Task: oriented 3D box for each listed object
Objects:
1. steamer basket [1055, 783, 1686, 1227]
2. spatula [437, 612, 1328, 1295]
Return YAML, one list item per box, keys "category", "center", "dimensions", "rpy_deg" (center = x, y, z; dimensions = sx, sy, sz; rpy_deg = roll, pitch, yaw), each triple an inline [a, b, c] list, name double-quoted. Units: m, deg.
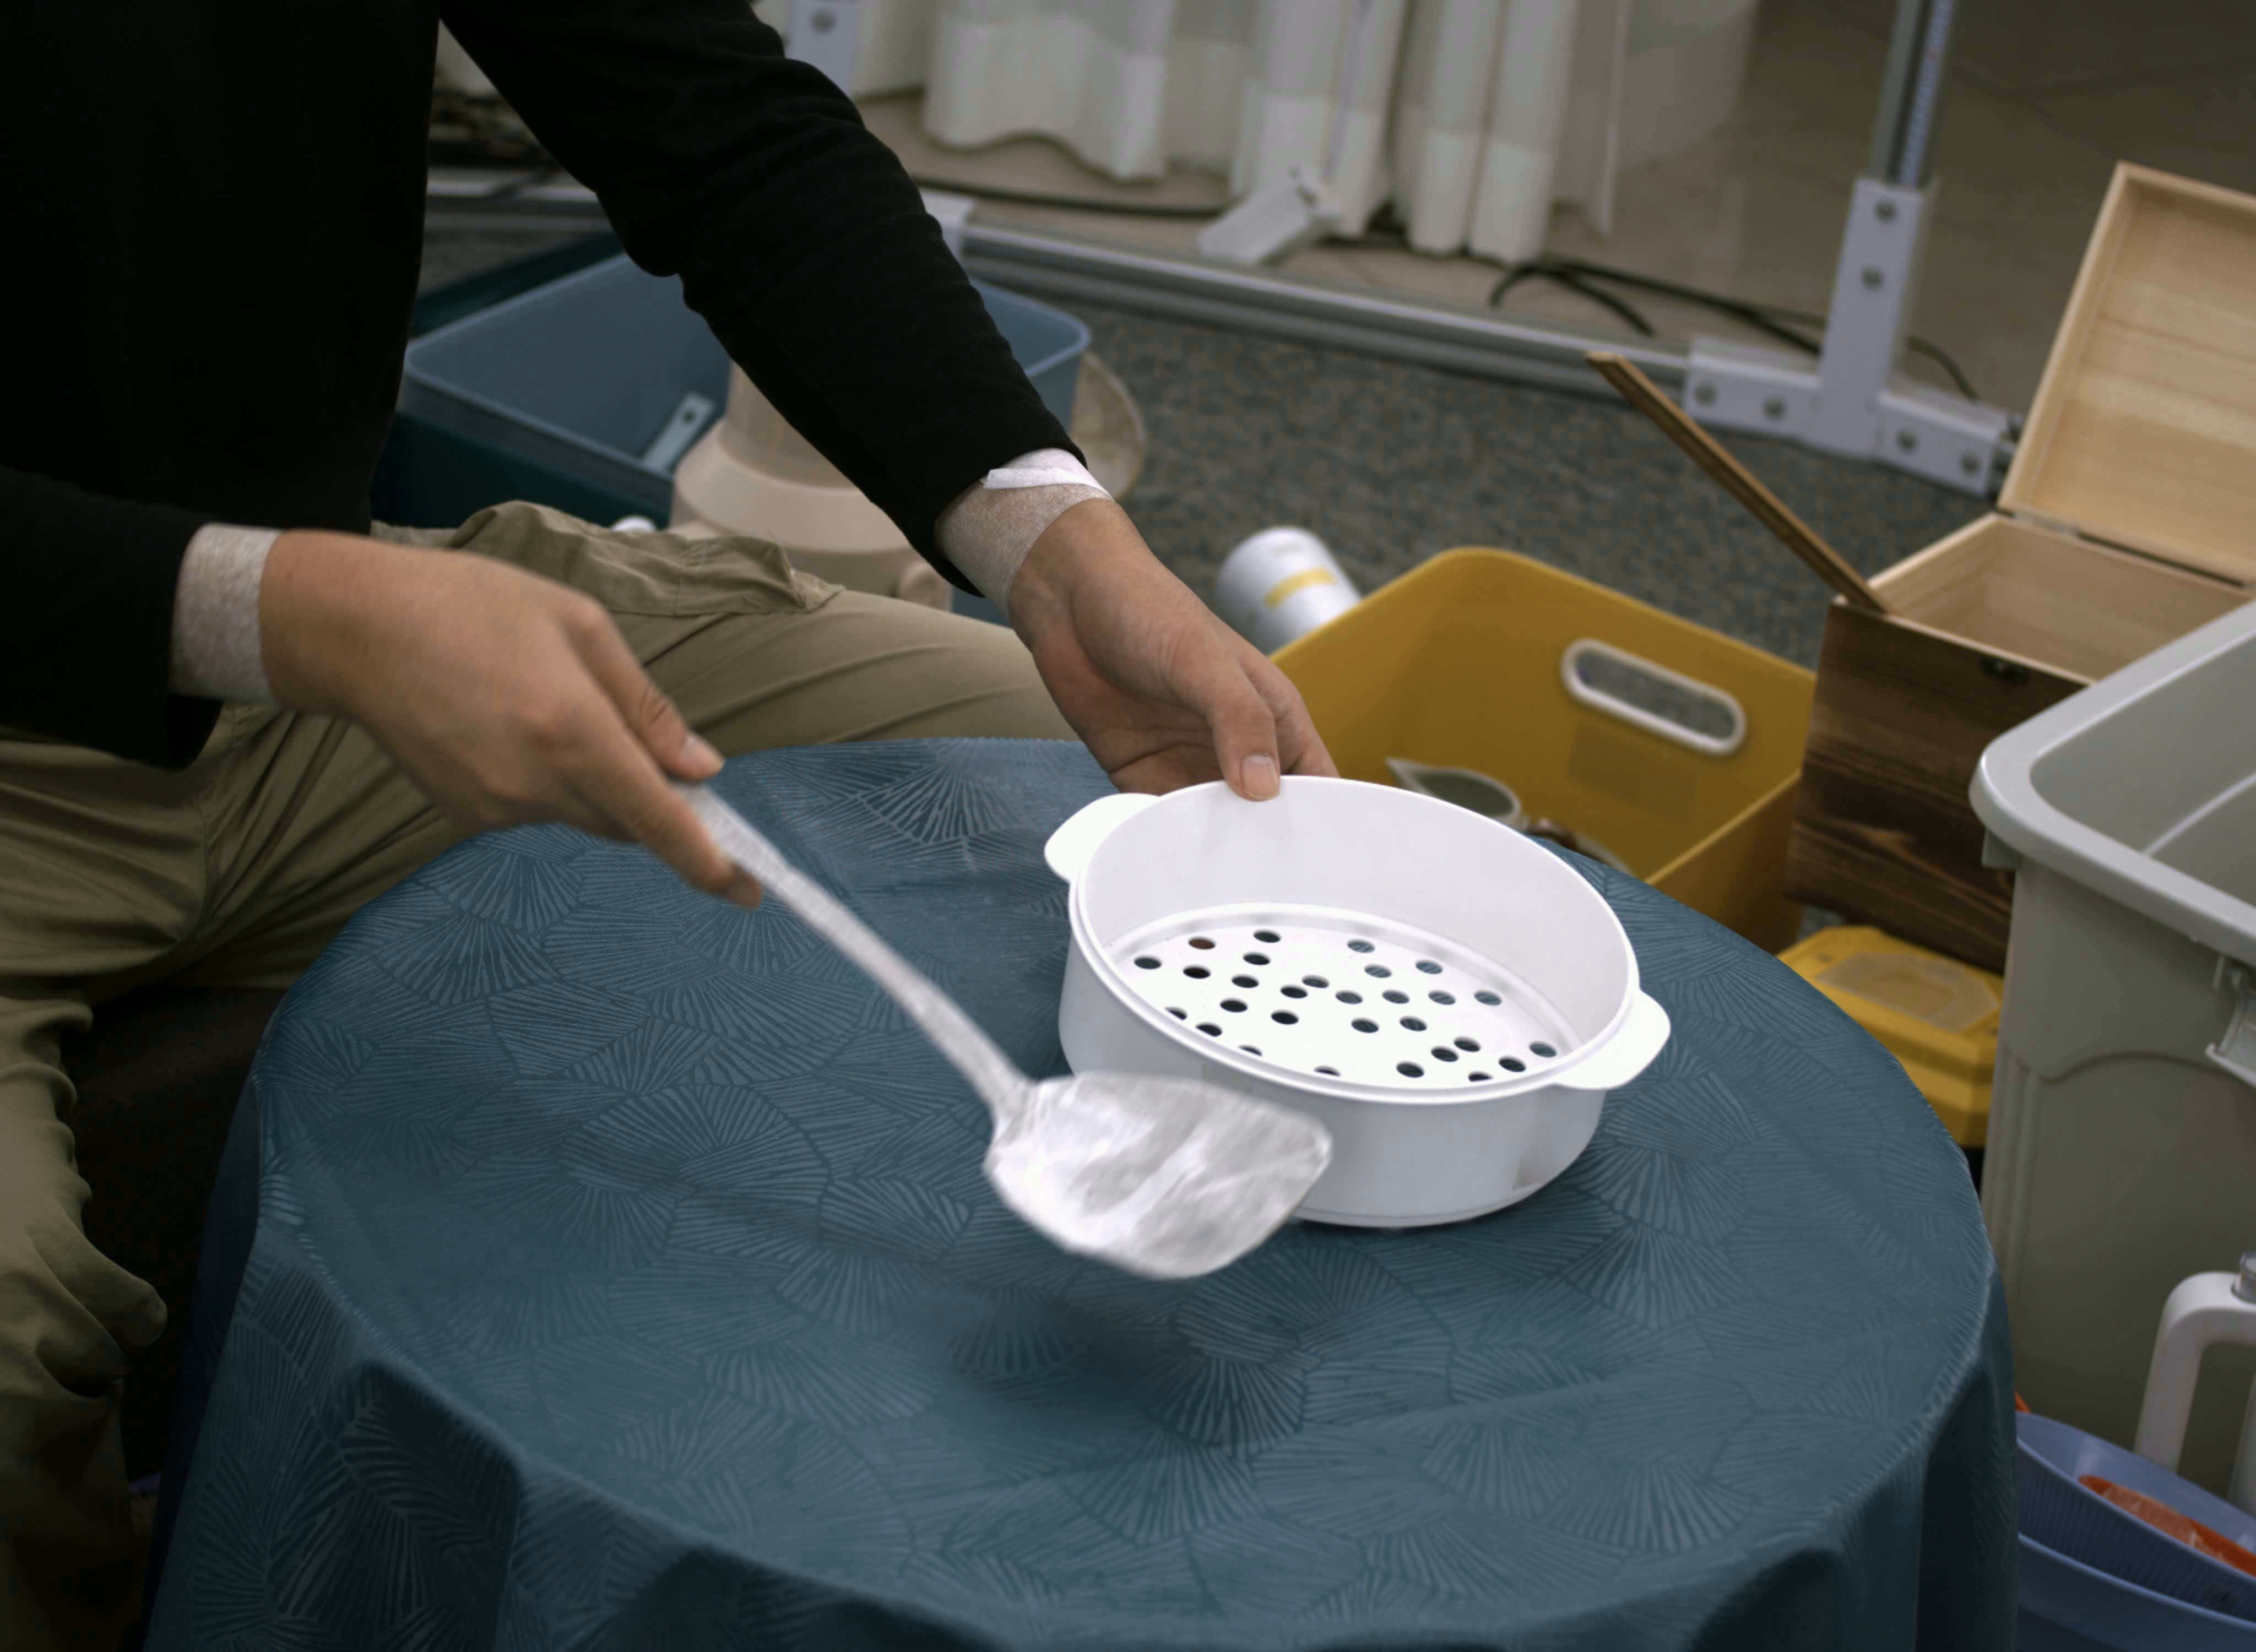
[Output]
- category: "steamer basket"
  center: [0.079, 0.063, 1.852]
  dimensions: [0.231, 0.069, 0.201]
  rpy_deg: [22, 32, 21]
- category: "spatula"
  center: [-0.096, 0.031, 1.732]
  dimensions: [0.366, 0.044, 0.098]
  rpy_deg: [39, 48, 14]
